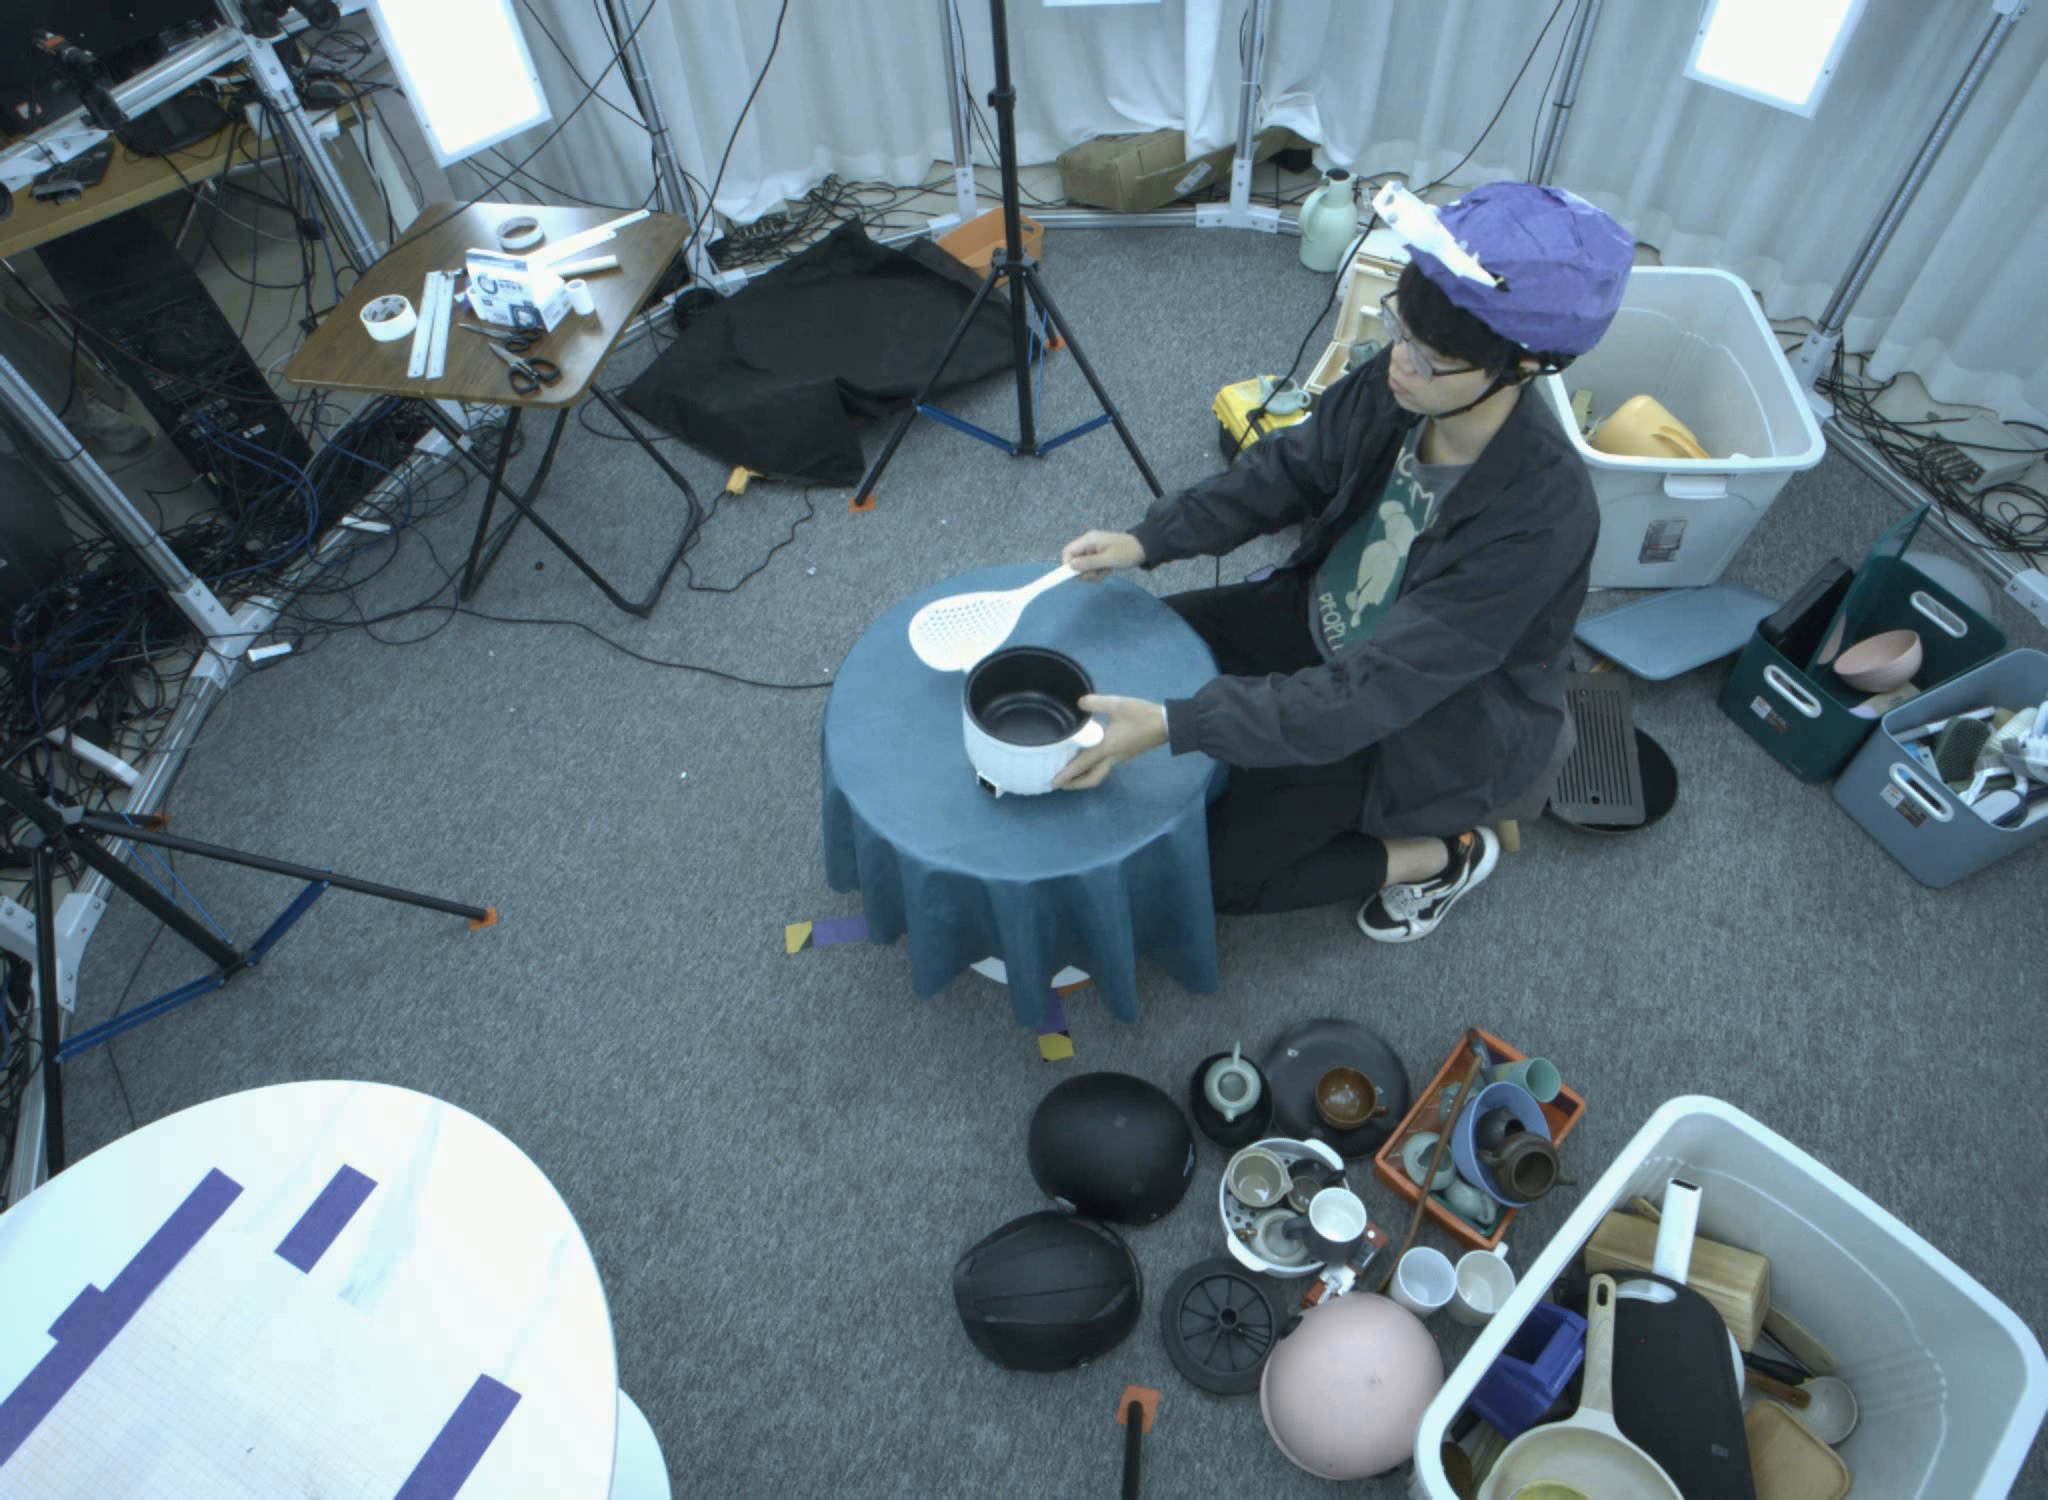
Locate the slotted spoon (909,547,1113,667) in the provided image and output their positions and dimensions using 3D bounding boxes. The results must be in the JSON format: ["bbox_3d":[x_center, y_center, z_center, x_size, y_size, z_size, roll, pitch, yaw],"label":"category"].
[{"bbox_3d":[-0.007,-0.224,1.823,0.350,0.051,0.134,-33,60,-13],"label":"slotted spoon"}]

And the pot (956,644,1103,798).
[{"bbox_3d":[0.007,-0.038,1.695,0.237,0.144,0.191,34,61,19],"label":"pot"}]
